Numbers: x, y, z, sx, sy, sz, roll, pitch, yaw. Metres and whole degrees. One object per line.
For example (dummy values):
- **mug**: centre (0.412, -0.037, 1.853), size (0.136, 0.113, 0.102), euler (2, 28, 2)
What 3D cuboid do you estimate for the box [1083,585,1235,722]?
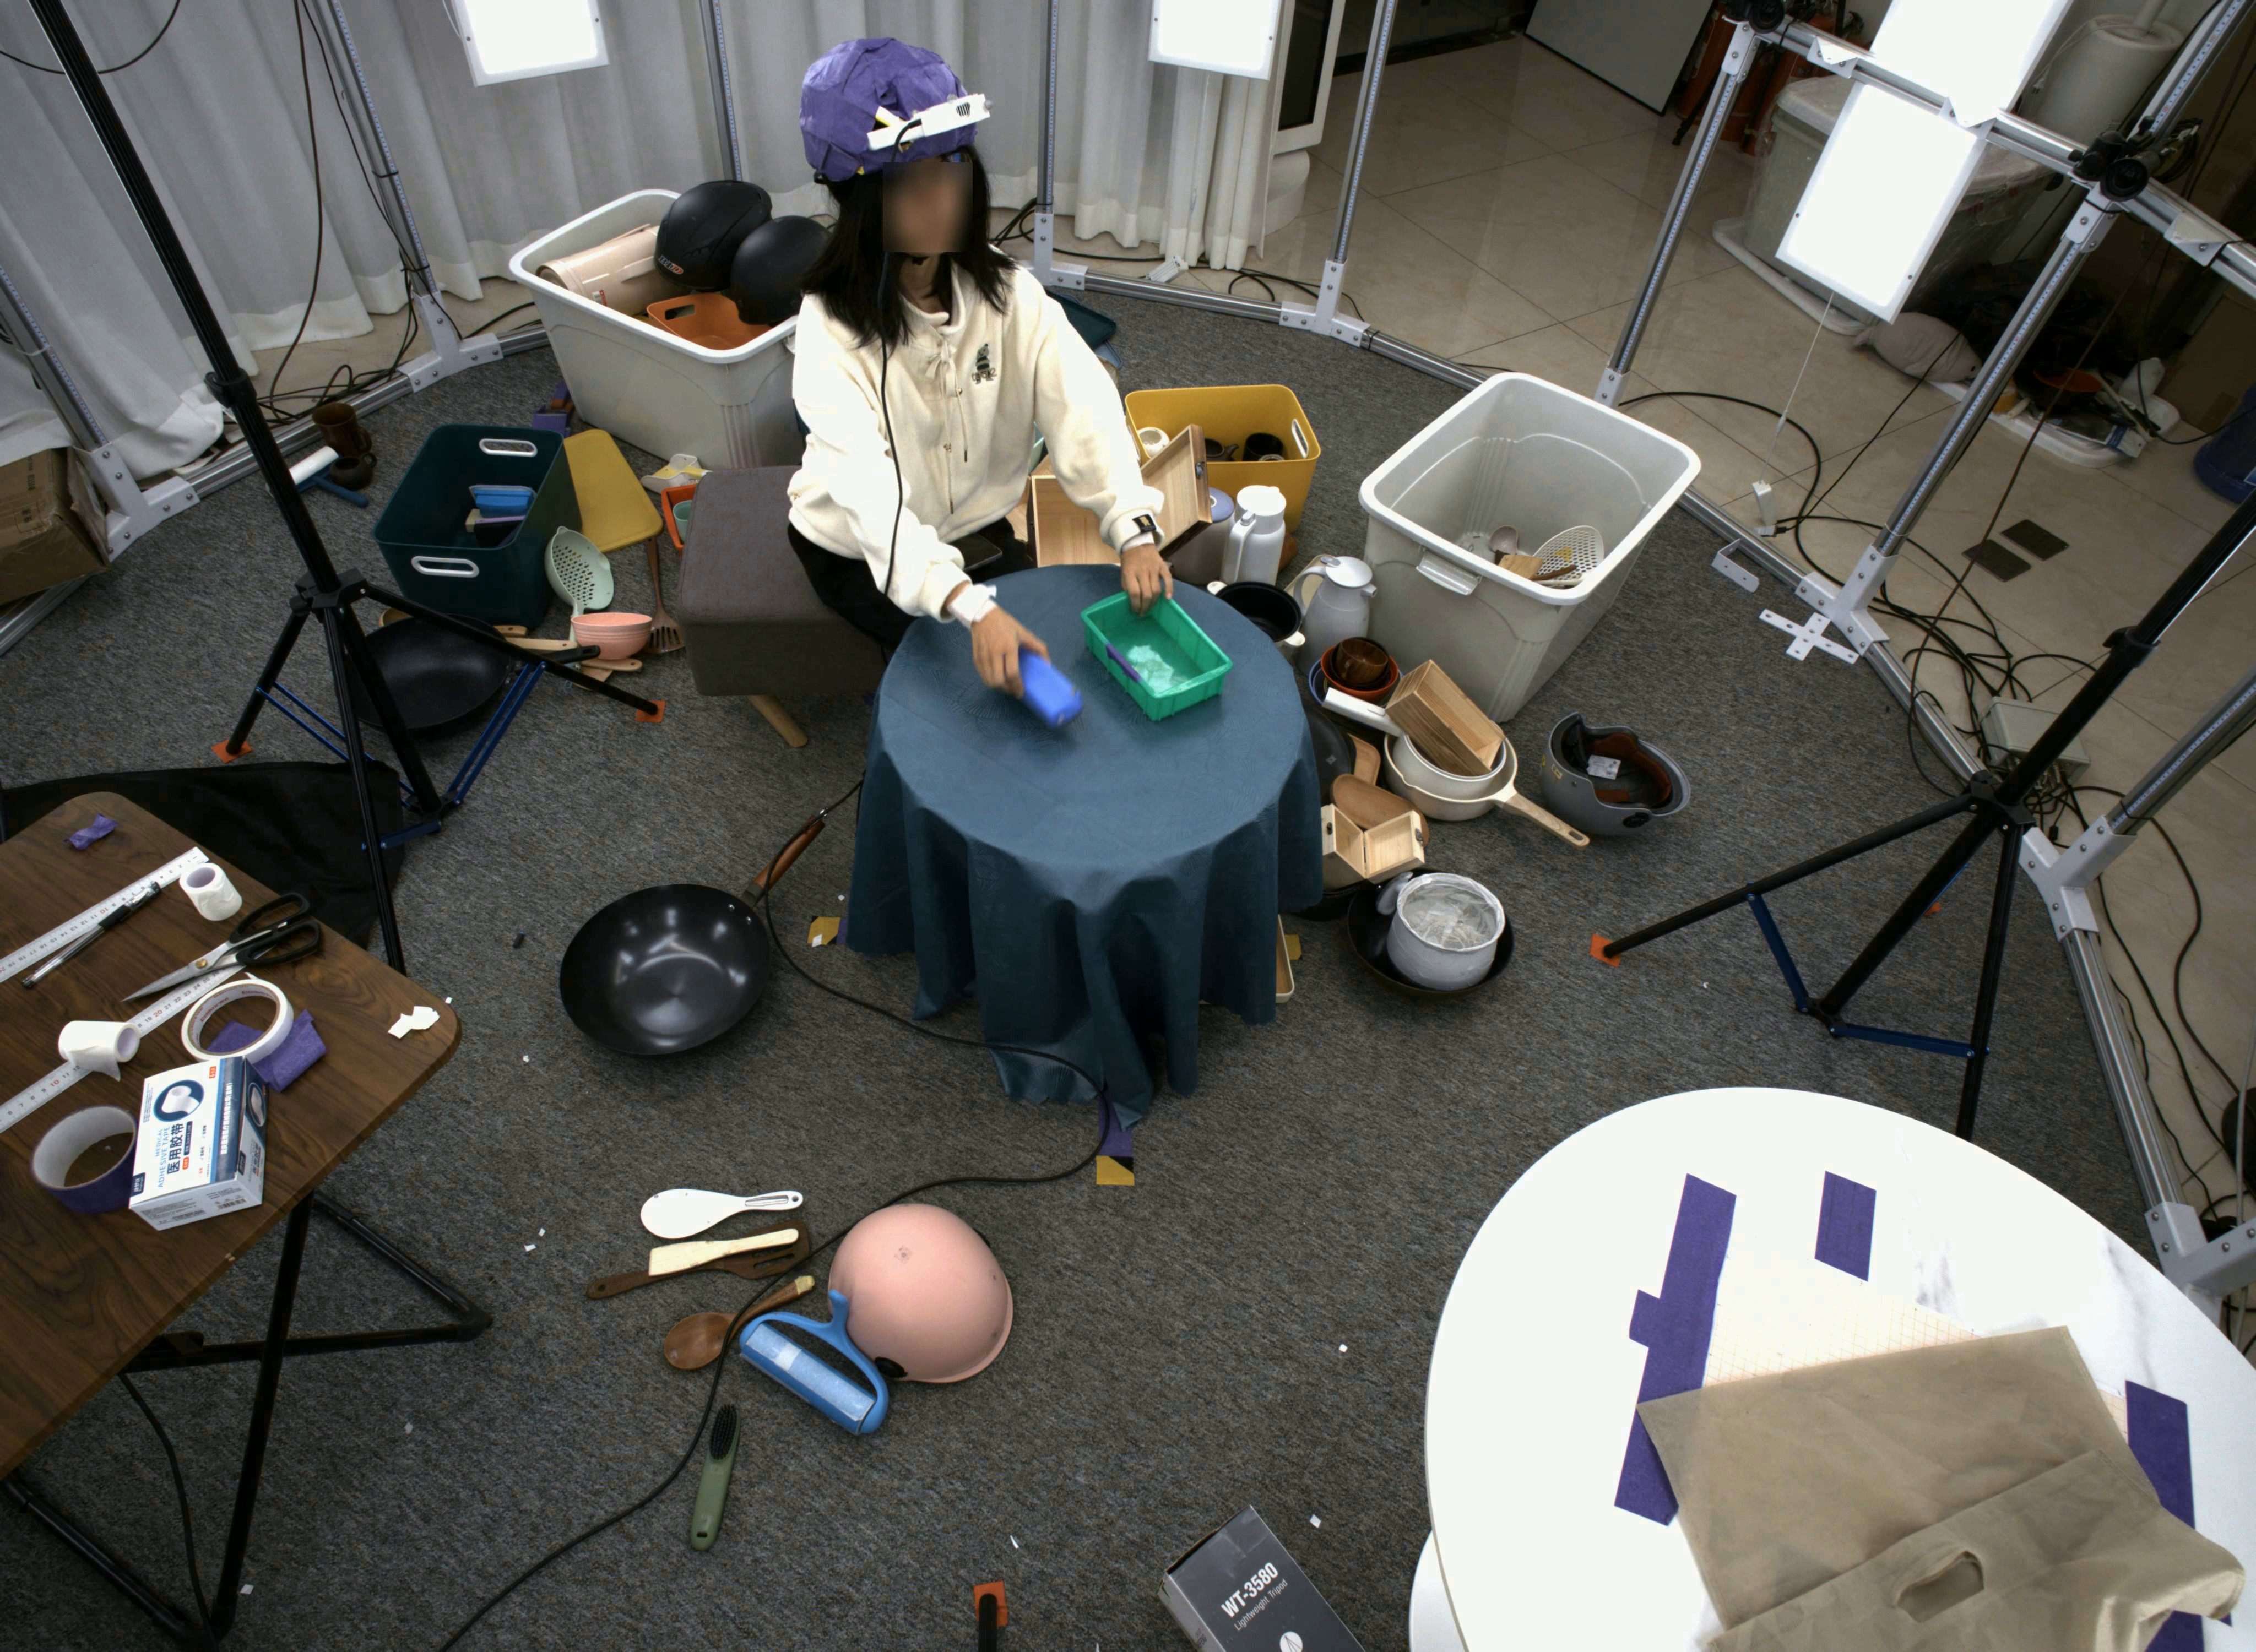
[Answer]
- **box**: centre (0.041, -0.246, 1.844), size (0.139, 0.064, 0.214), euler (-27, 57, -22)

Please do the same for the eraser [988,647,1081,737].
- **eraser**: centre (-0.132, -0.191, 1.775), size (0.054, 0.046, 0.165), euler (-35, 54, -15)
